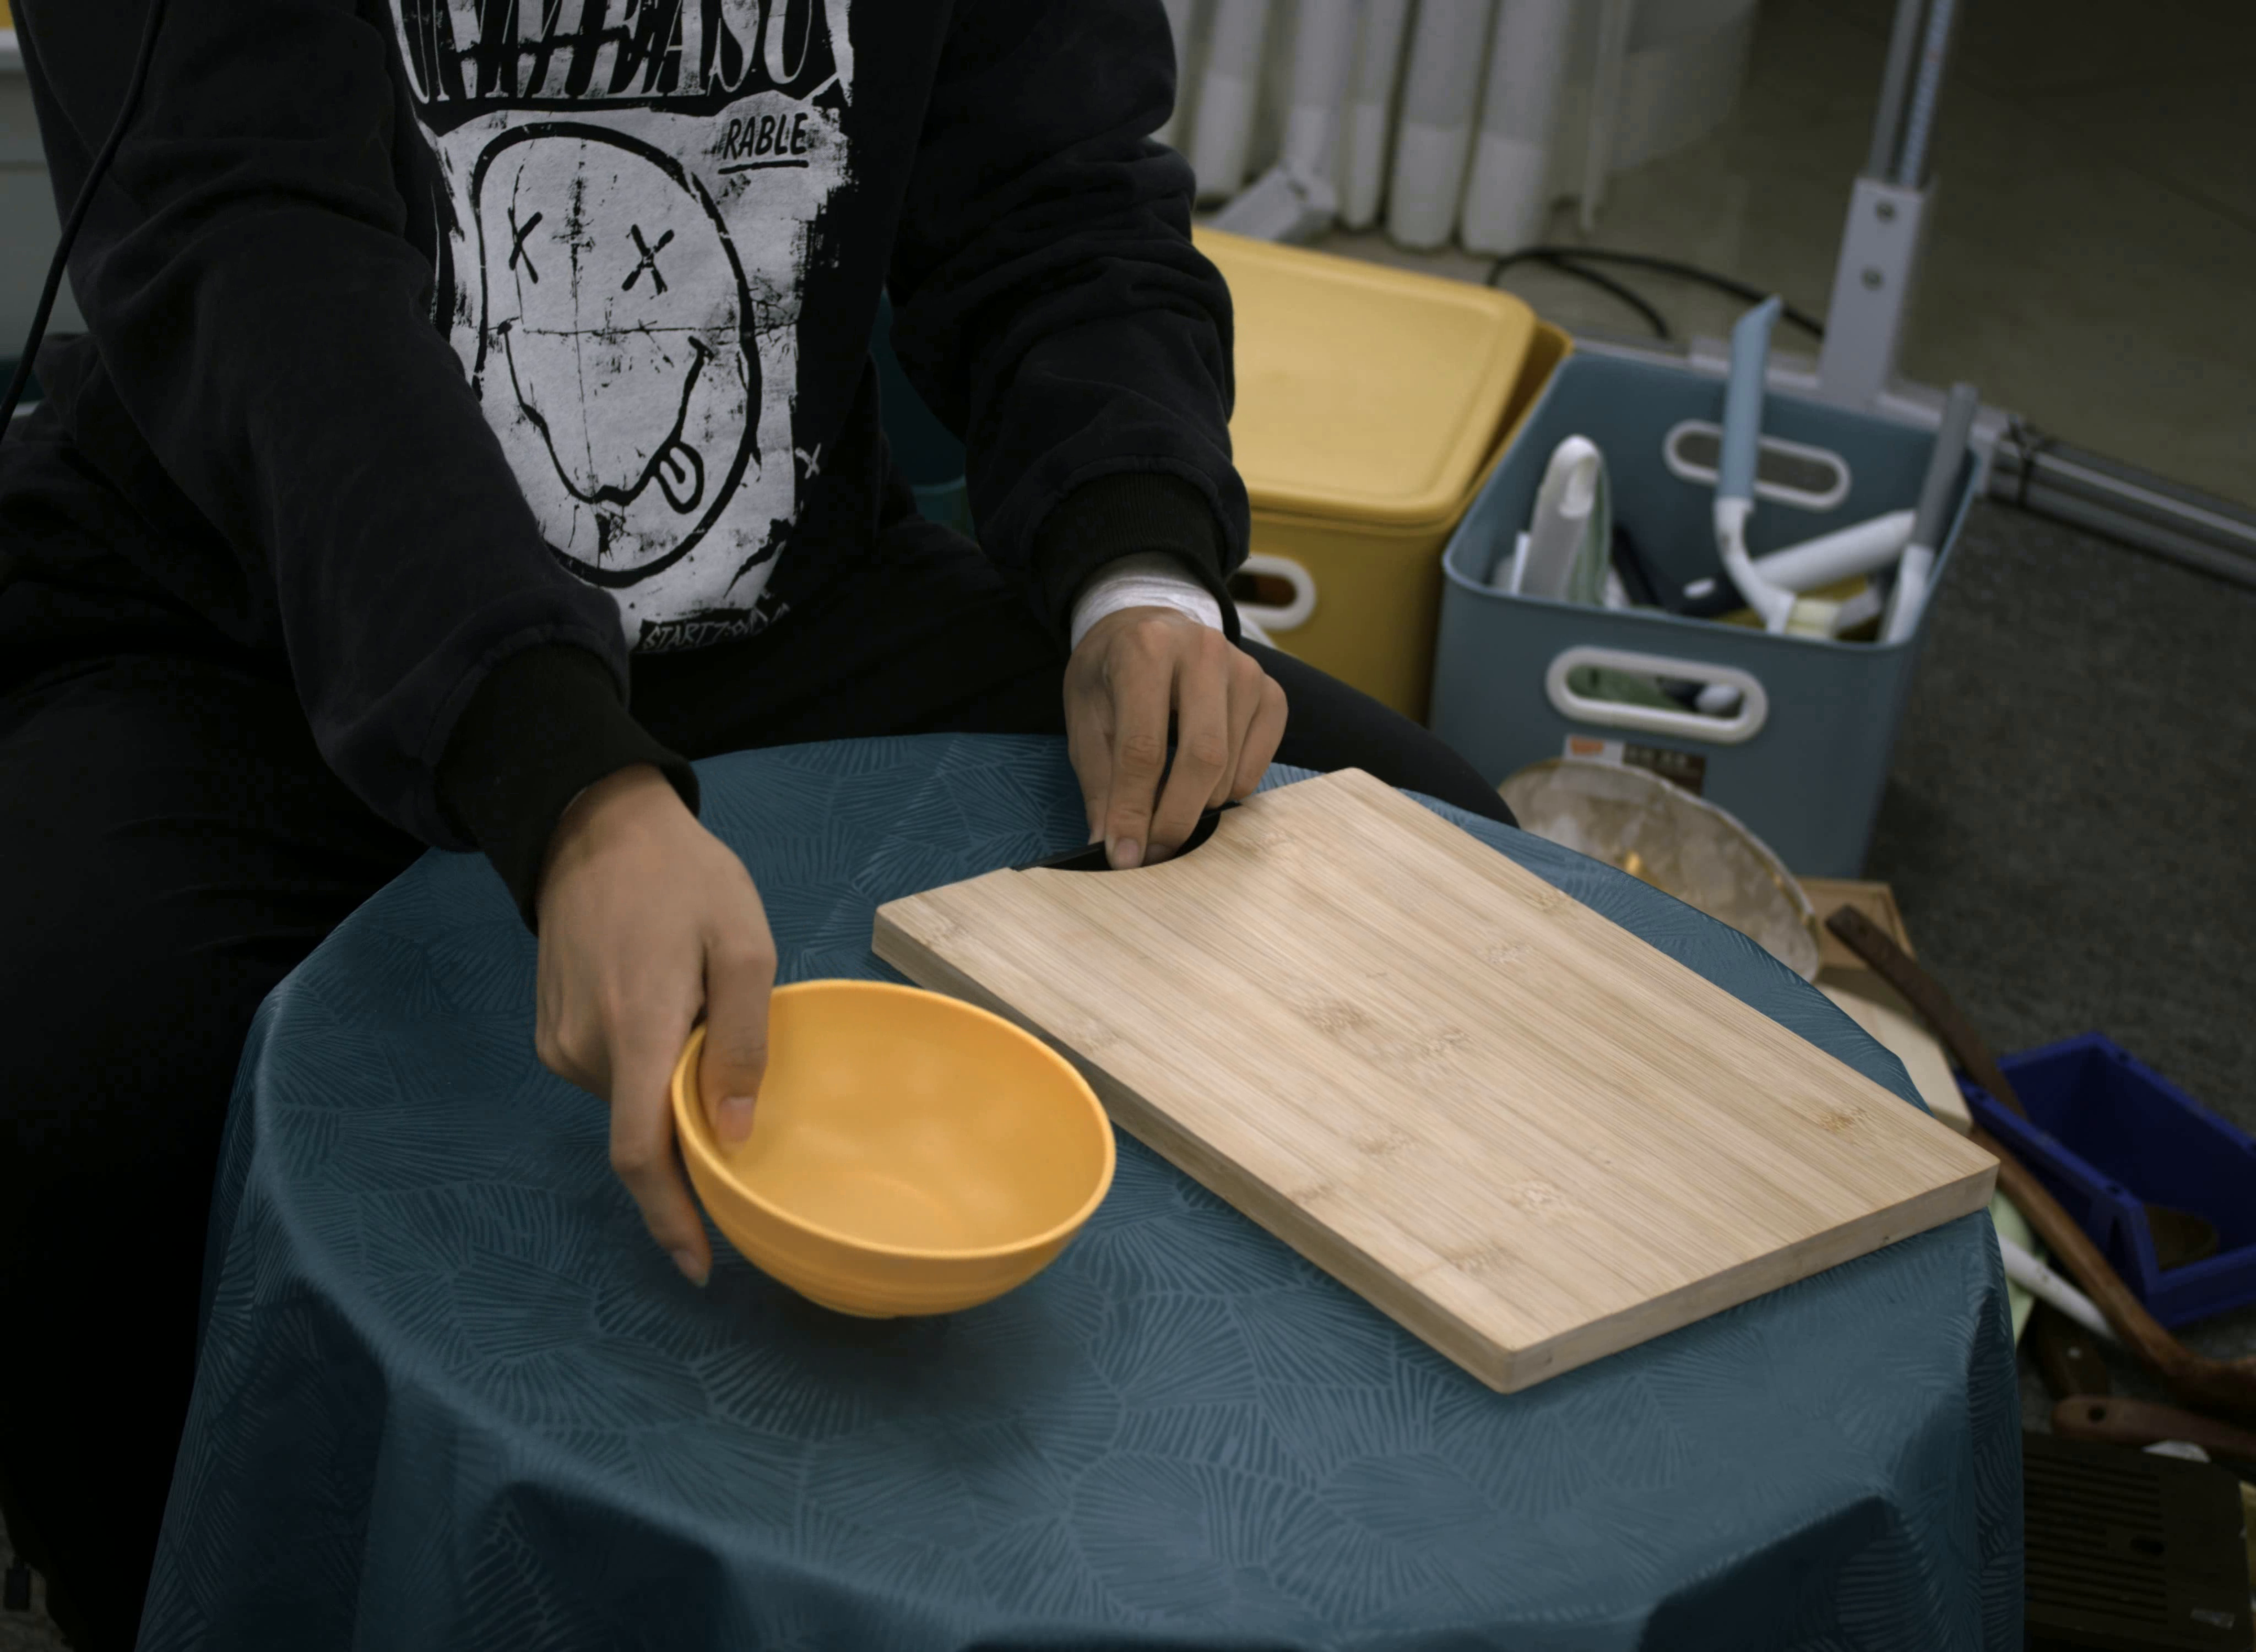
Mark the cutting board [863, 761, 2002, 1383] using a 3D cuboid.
[{"bbox_3d":[0.103,0.079,1.893,0.249,0.023,0.351,-16,35,-38],"label":"cutting board"}]

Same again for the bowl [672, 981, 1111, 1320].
[{"bbox_3d":[-0.082,0.115,1.707,0.144,0.060,0.146,12,30,-8],"label":"bowl"}]
